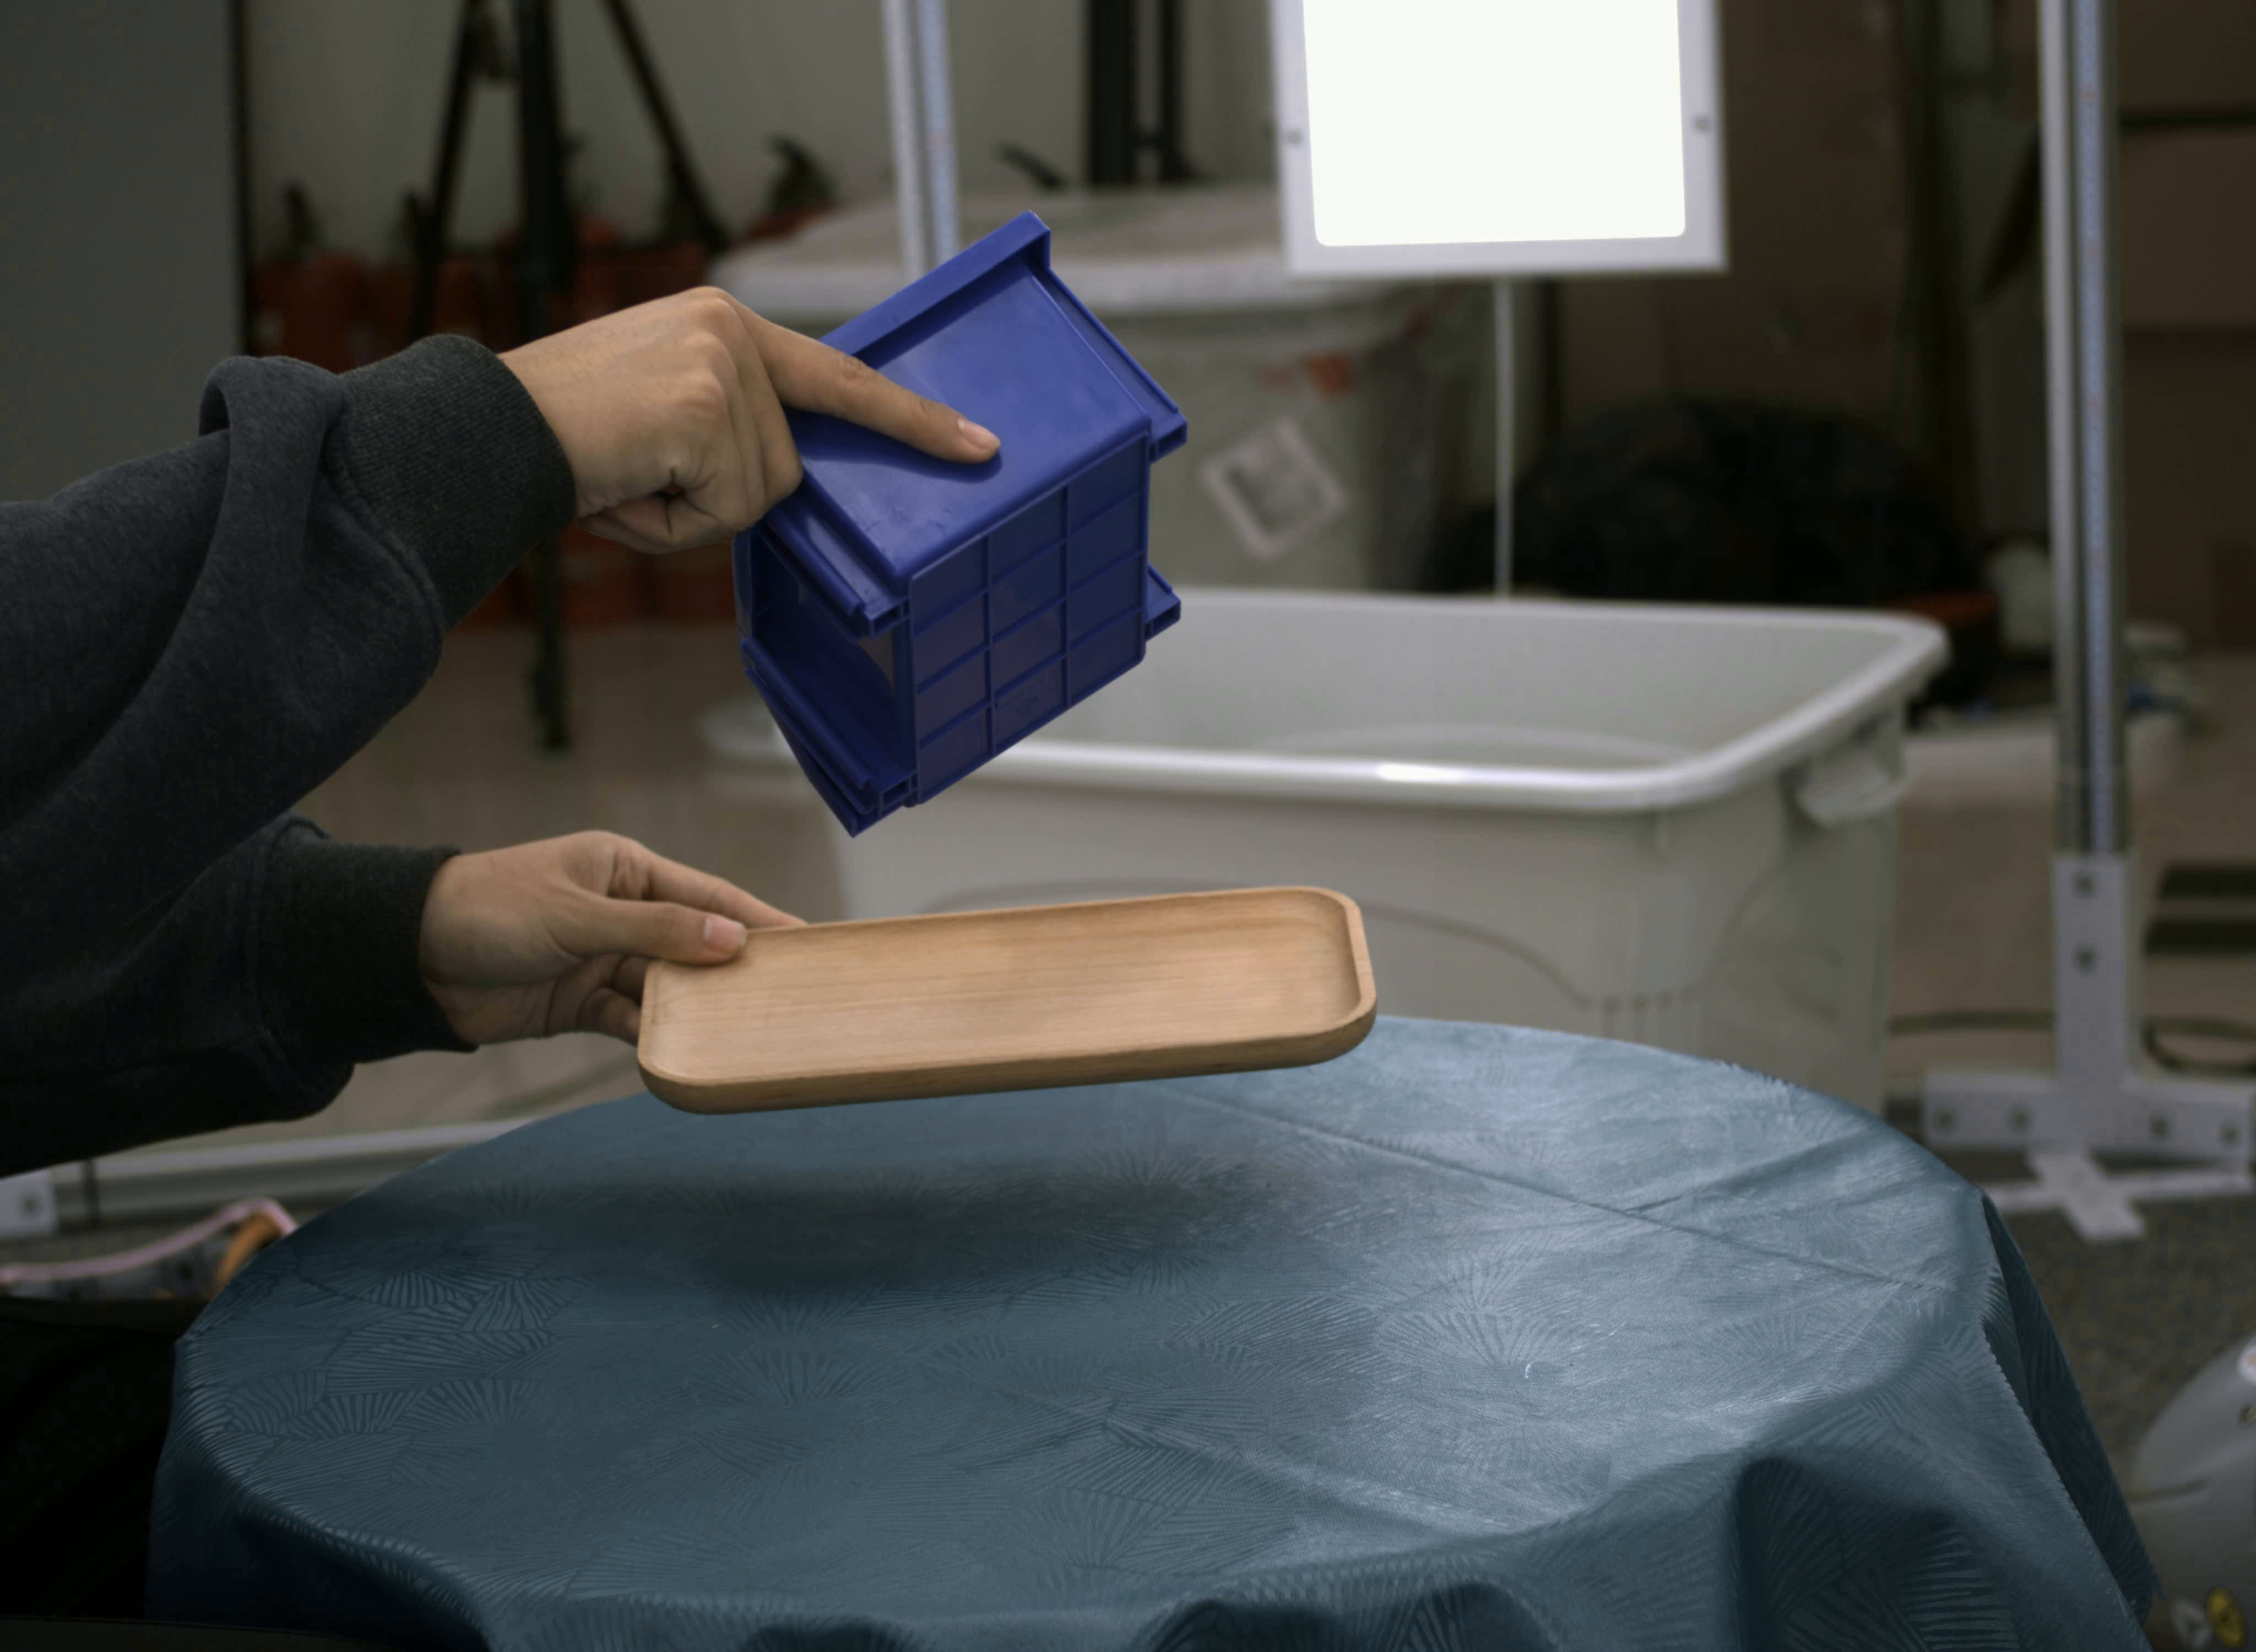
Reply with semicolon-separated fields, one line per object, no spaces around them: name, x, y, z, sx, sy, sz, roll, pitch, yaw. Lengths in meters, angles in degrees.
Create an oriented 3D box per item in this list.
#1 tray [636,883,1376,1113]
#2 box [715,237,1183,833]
tray;-0.042;0.059;1.881;0.250;0.023;0.130;-5;20;3
box;-0.056;-0.081;1.736;0.123;0.082;0.180;-34;-20;-14
